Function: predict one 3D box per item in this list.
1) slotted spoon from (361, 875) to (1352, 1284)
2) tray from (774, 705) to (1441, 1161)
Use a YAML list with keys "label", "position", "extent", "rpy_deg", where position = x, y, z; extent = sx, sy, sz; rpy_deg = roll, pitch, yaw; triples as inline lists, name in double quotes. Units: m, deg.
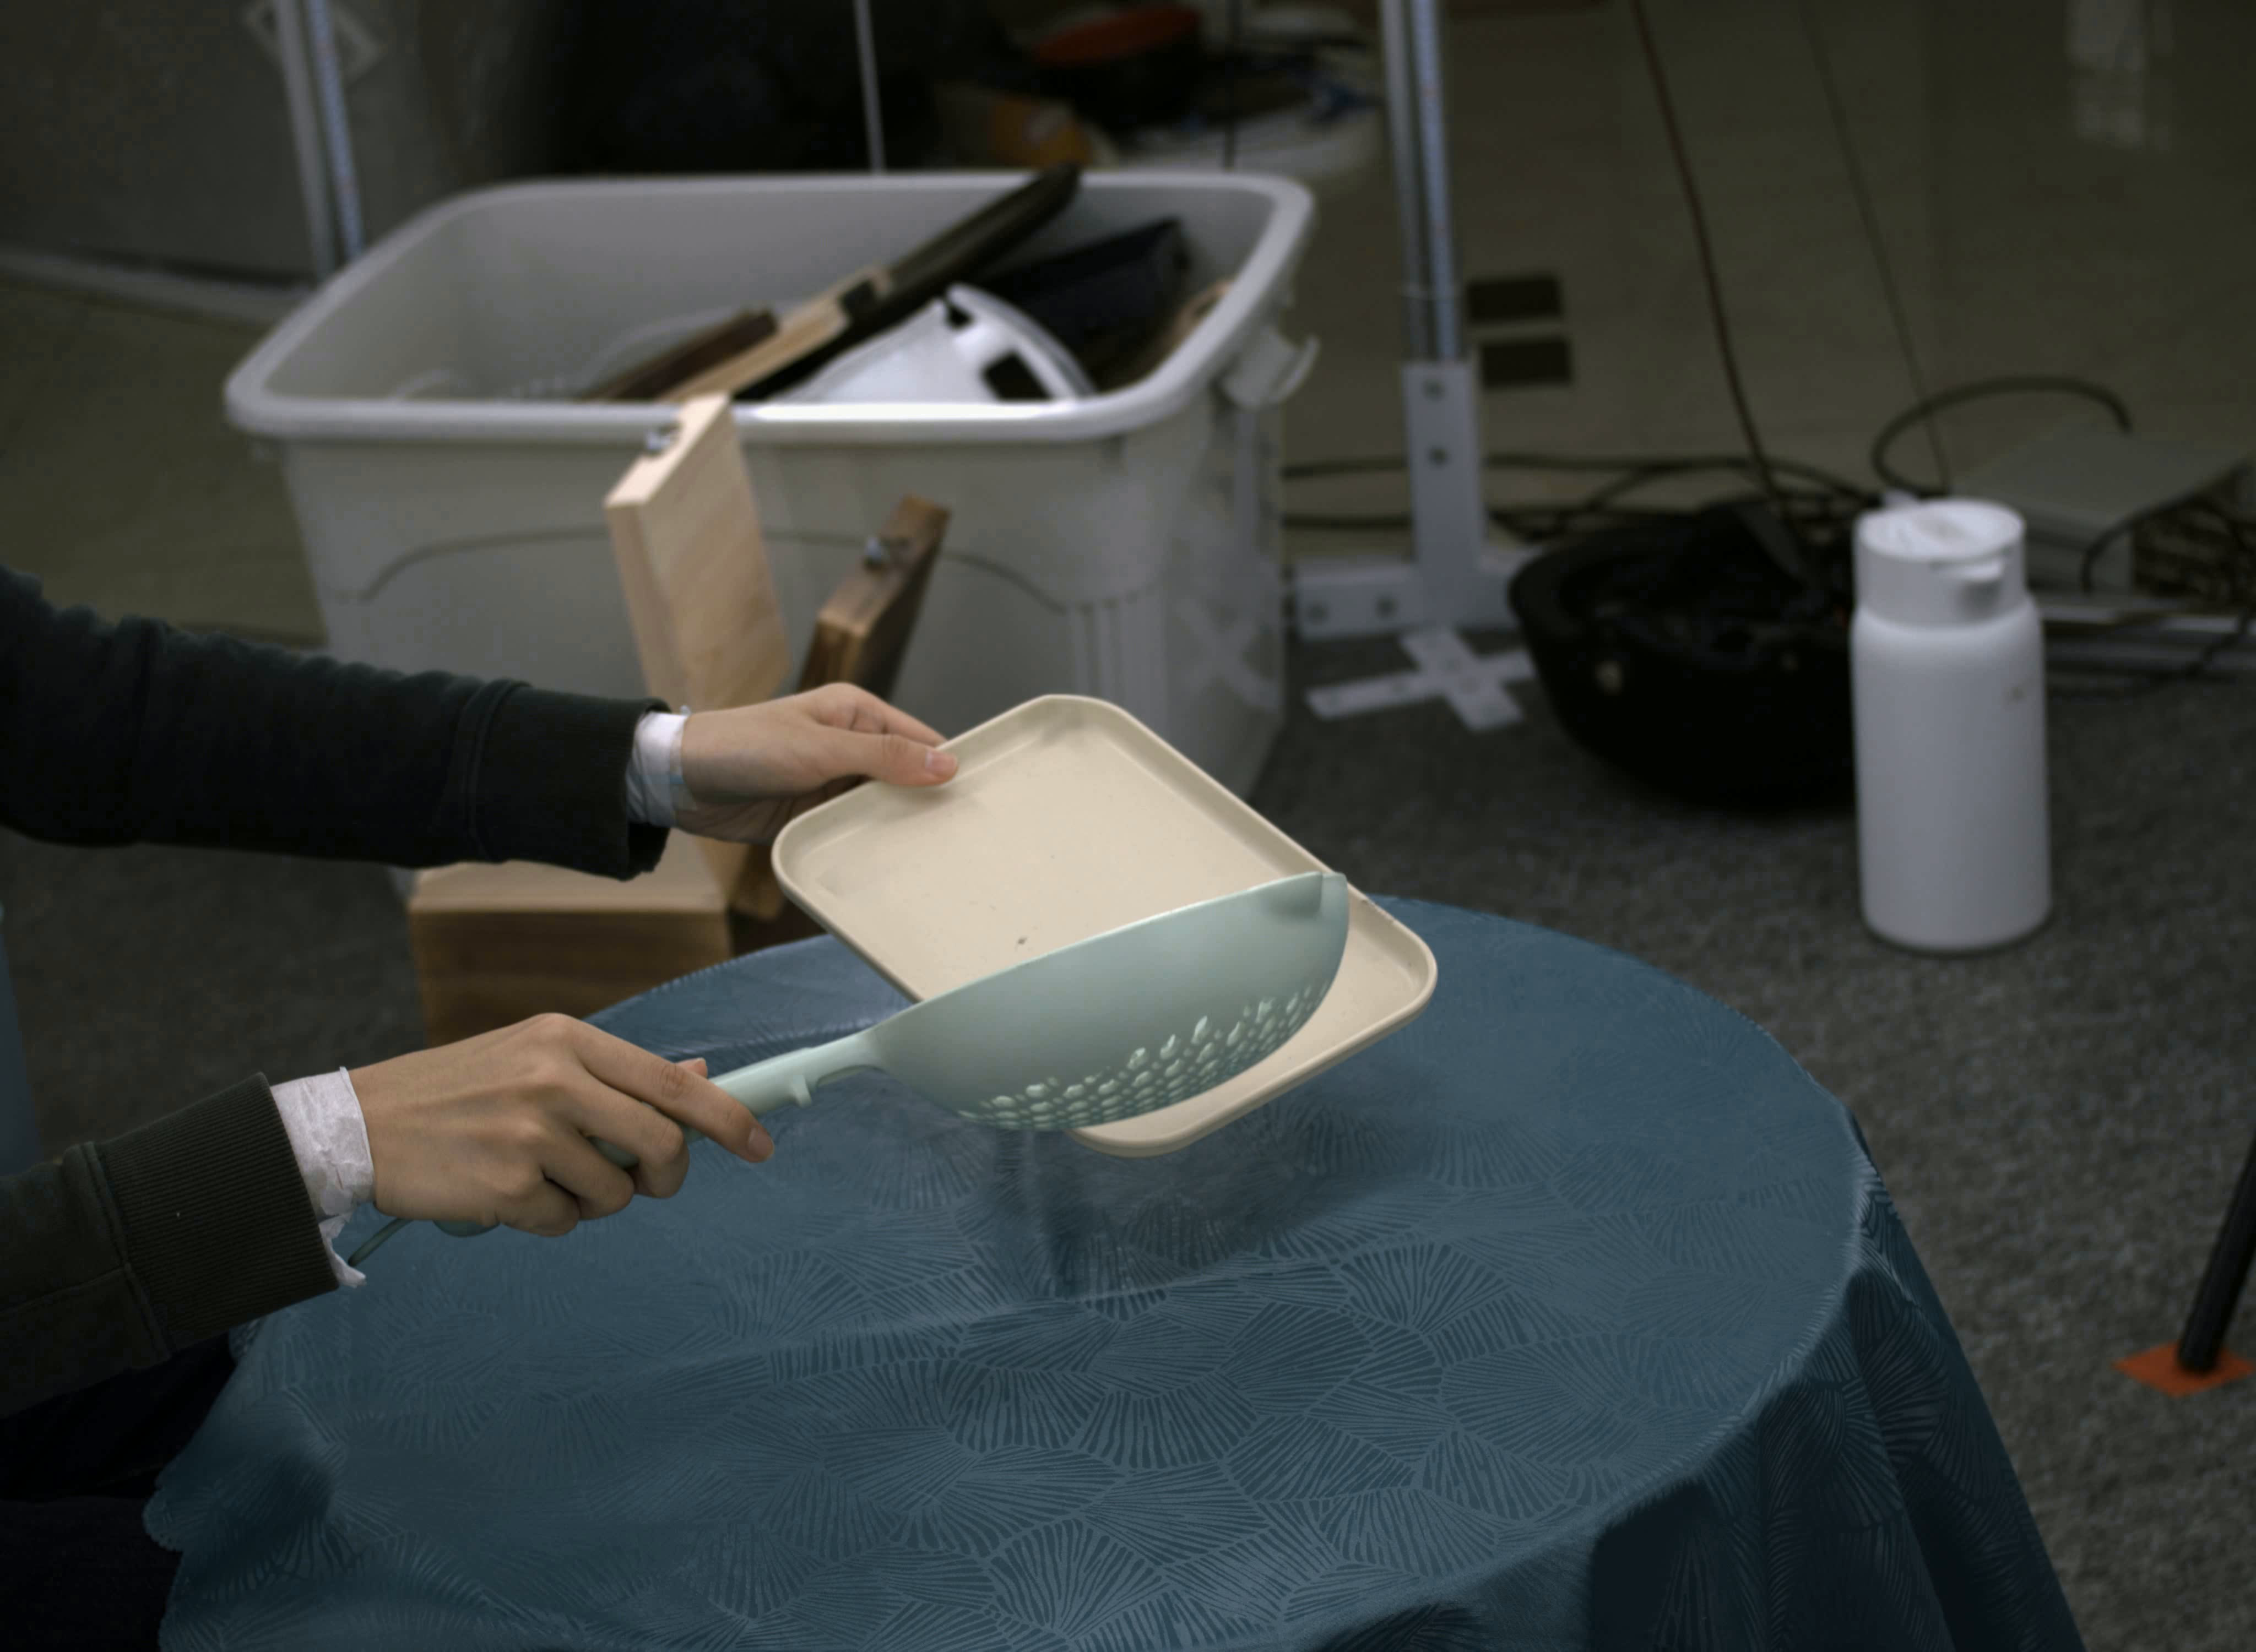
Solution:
- label: "slotted spoon"
  position: [-0.093, 0.087, 1.949]
  extent: [0.358, 0.075, 0.170]
  rpy_deg: [-10, -7, -2]
- label: "tray"
  position: [-0.009, 0.039, 2.170]
  extent: [0.170, 0.018, 0.237]
  rpy_deg: [-28, 47, -29]
